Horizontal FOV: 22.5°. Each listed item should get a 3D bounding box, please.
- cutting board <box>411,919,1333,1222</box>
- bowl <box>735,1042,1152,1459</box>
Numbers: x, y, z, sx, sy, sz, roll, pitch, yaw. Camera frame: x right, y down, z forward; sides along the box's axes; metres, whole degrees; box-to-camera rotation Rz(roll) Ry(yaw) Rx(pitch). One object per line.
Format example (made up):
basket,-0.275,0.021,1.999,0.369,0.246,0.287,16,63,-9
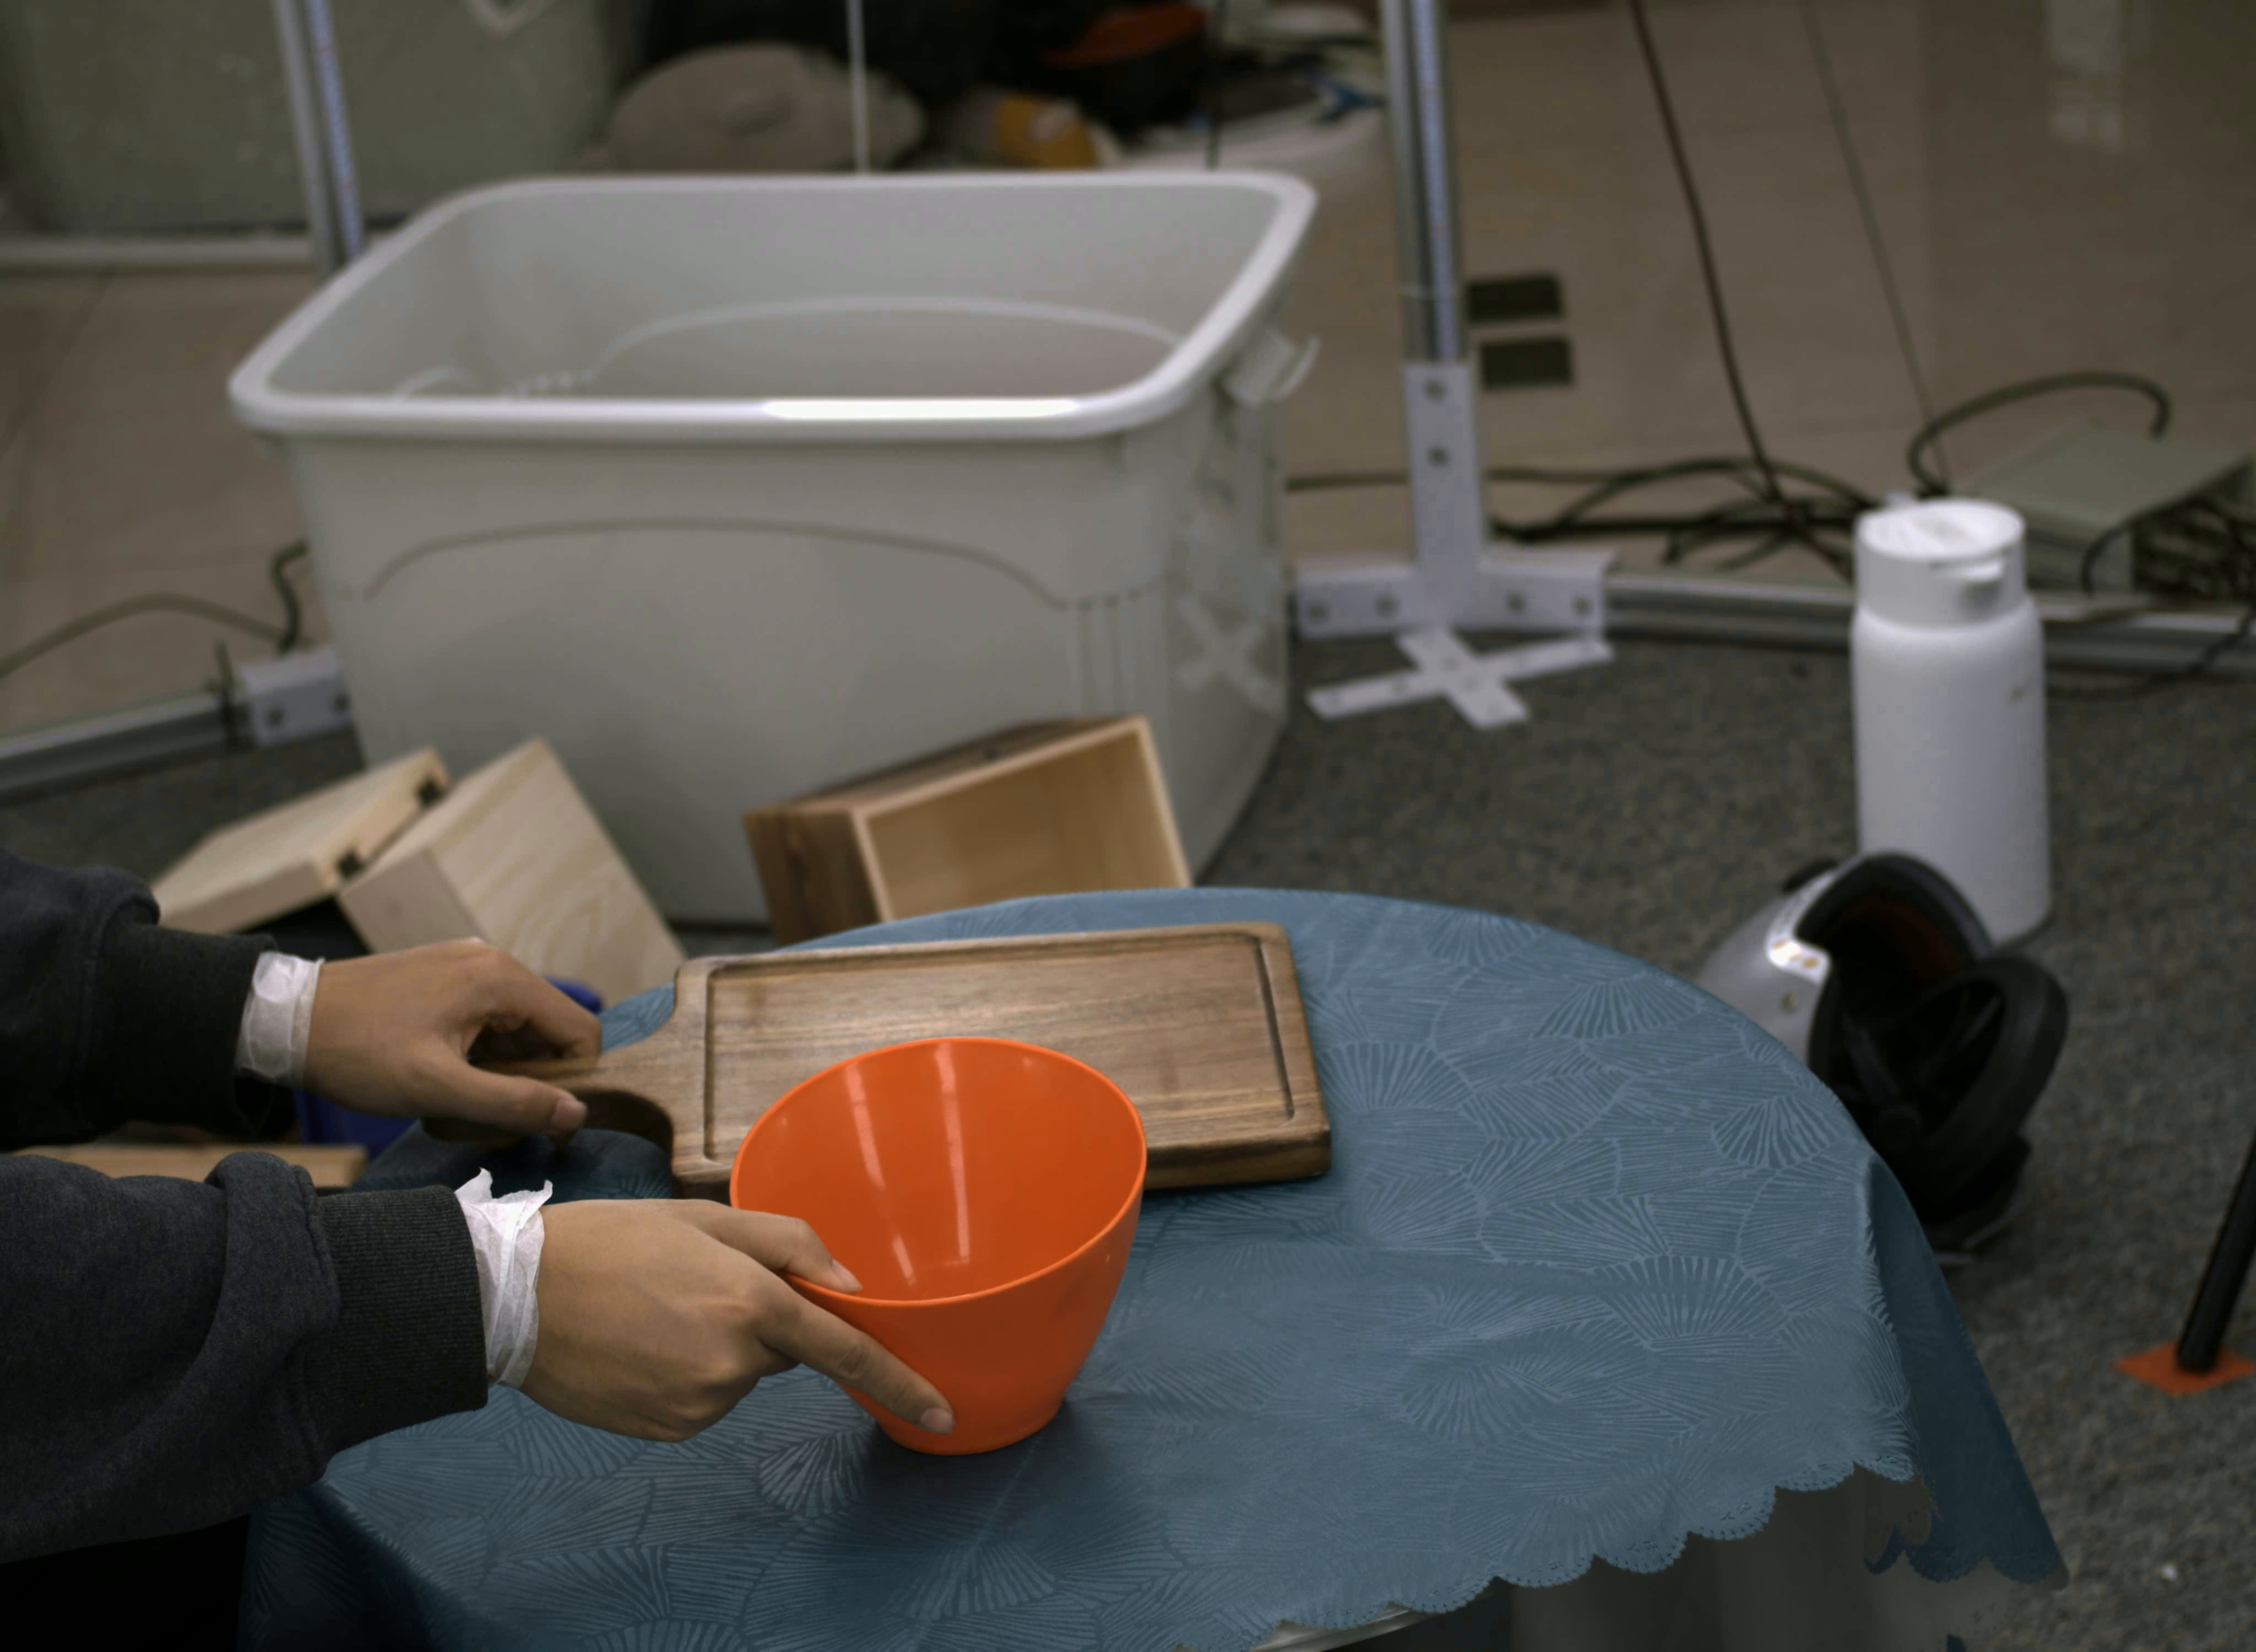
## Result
cutting board,-0.103,0.096,2.215,0.351,0.023,0.198,-4,25,-3
bowl,-0.060,0.156,2.004,0.148,0.106,0.146,-6,26,3
